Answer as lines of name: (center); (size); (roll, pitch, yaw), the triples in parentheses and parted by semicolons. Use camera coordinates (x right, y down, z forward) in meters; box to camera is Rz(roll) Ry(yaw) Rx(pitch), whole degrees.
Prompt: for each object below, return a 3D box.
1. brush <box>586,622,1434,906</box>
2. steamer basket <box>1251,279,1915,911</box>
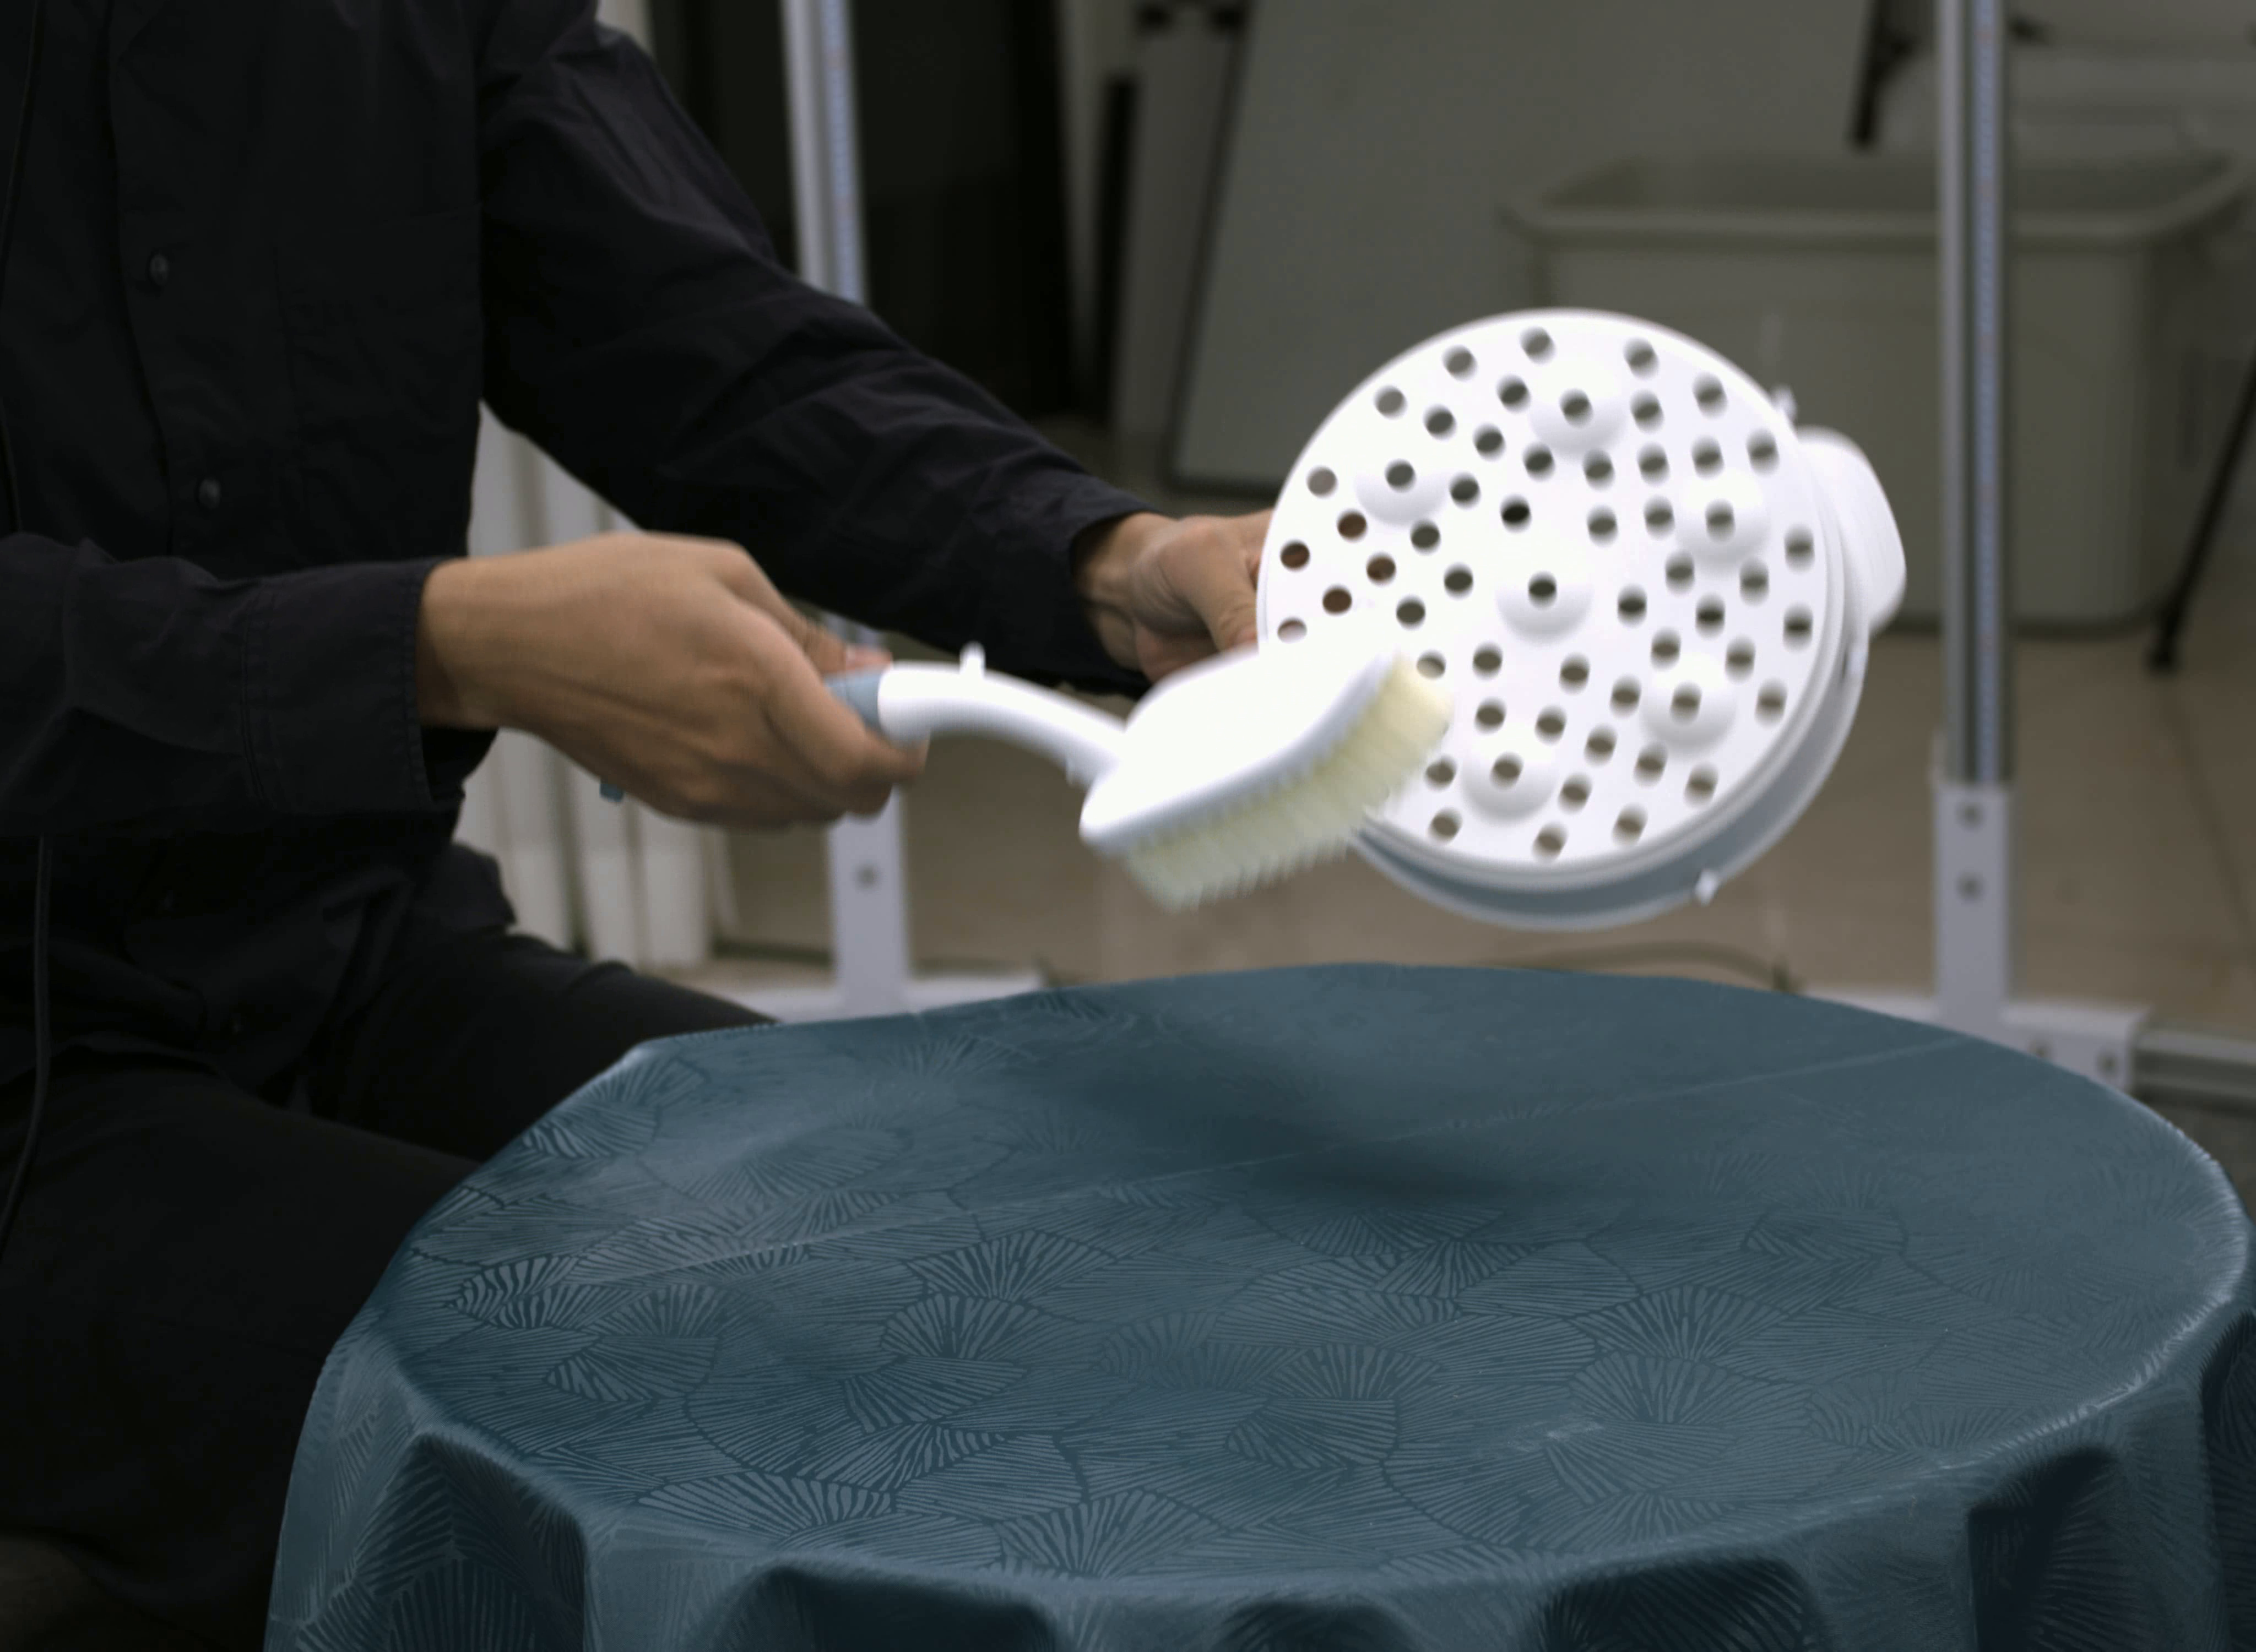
brush: (-0.034, -0.014, 1.684); (0.328, 0.085, 0.081); (-6, 3, 40)
steamer basket: (0.144, -0.078, 1.763); (0.229, 0.204, 0.069); (-23, -19, 7)
